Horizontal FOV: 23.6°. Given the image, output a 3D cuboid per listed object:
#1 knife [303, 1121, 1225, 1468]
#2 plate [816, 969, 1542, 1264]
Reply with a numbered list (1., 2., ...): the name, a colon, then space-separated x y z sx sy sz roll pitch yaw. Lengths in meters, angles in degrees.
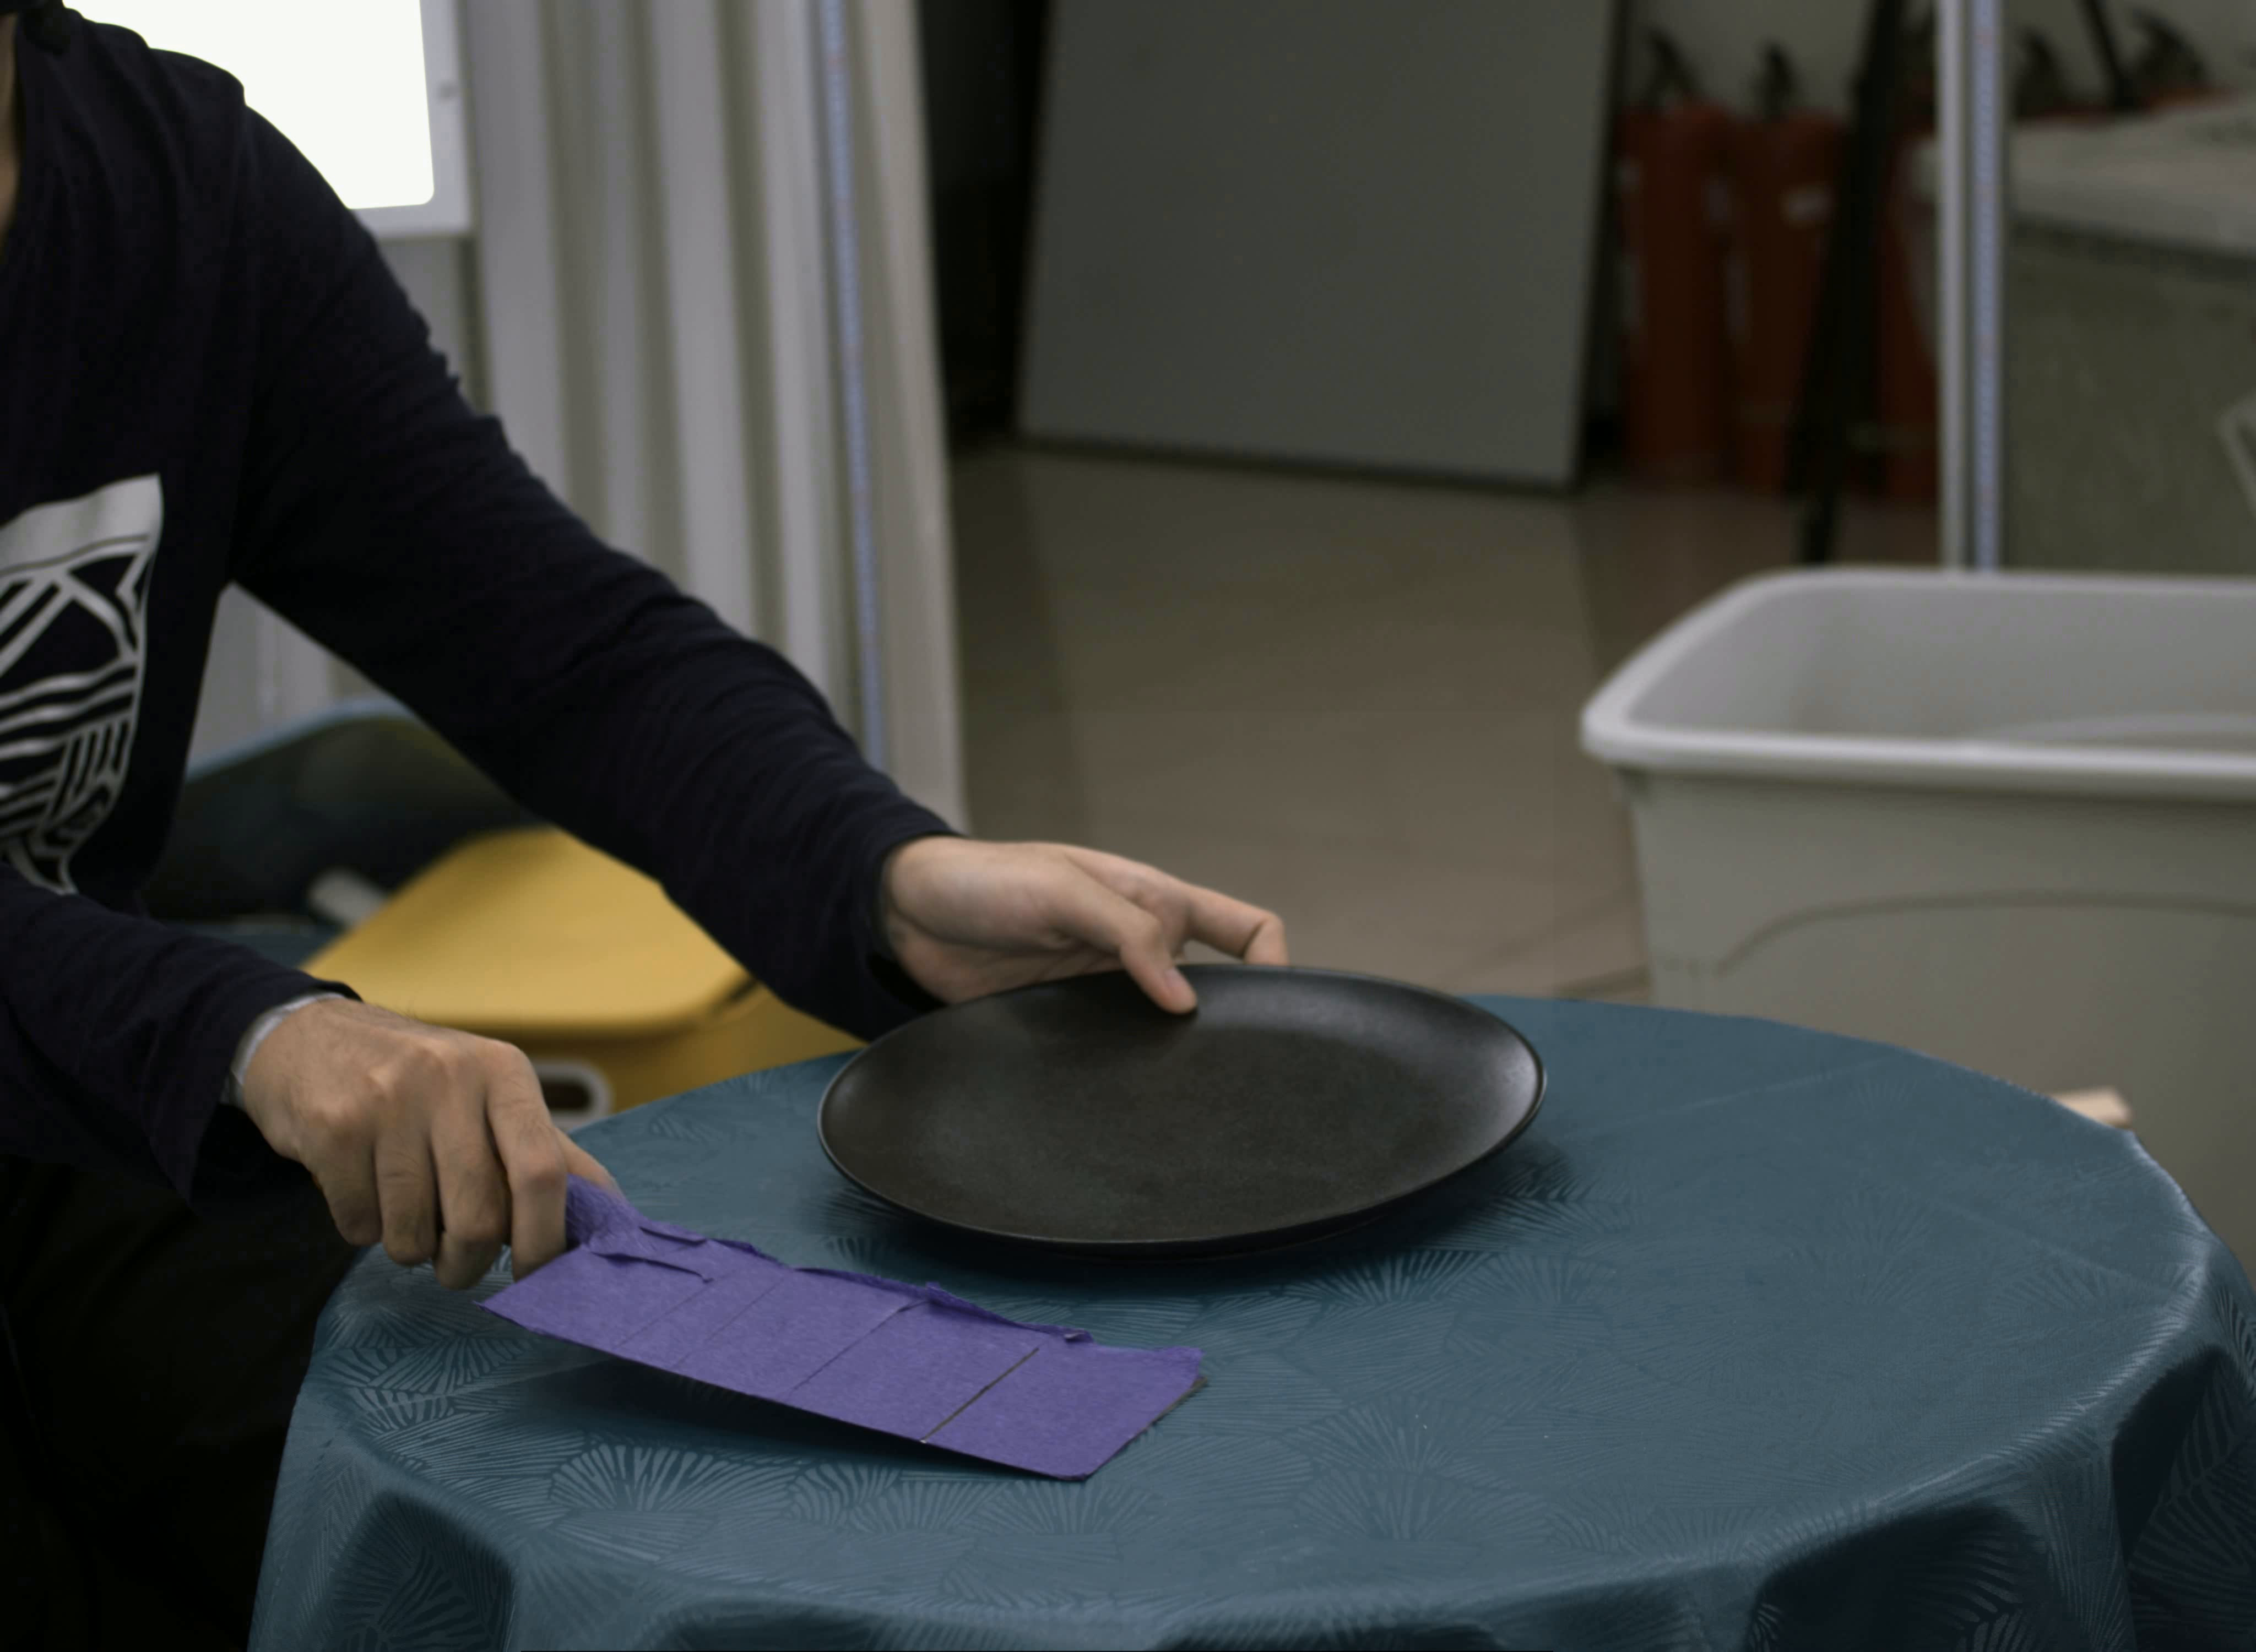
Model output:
1. knife: -0.129 0.139 1.620 0.316 0.032 0.102 10 18 26
2. plate: 0.017 0.099 1.781 0.241 0.023 0.245 -5 19 1
